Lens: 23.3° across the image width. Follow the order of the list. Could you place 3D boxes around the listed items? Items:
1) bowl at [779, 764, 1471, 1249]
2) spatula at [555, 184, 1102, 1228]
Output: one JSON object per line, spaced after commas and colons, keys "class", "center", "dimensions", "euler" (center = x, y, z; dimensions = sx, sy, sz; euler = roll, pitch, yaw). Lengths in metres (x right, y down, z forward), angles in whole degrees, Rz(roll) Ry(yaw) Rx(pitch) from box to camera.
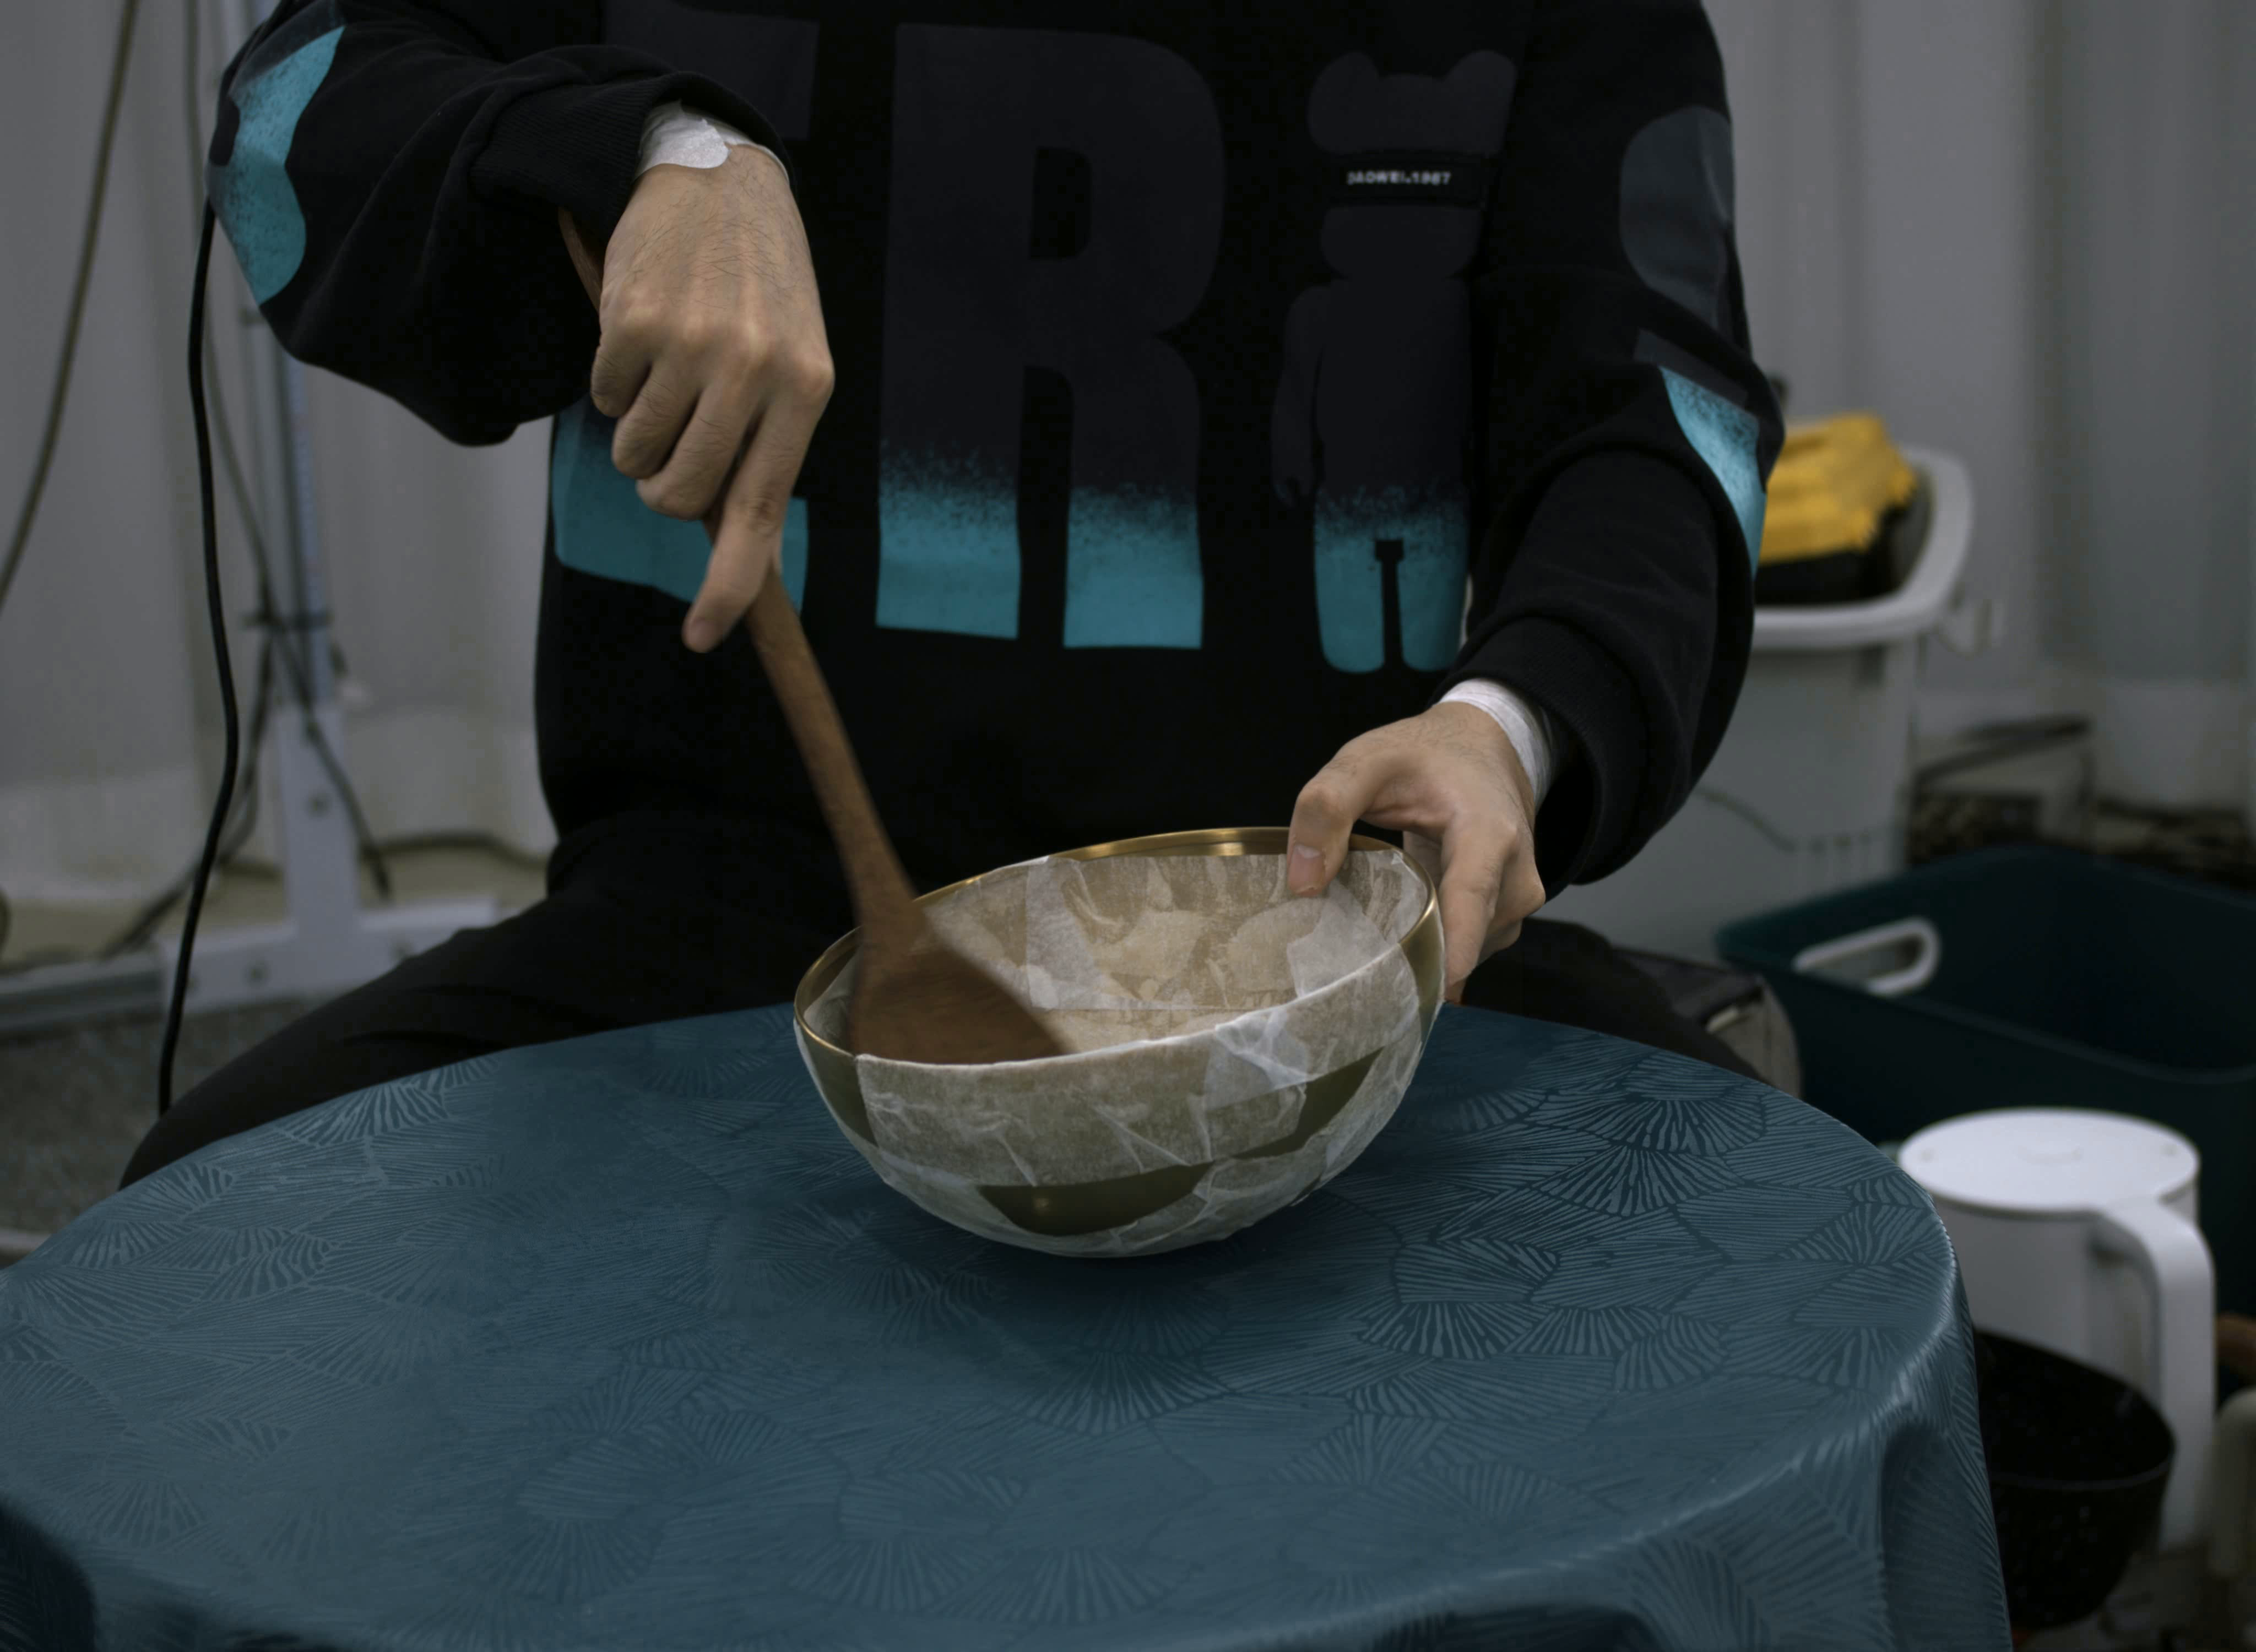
{"class": "bowl", "center": [0.006, 0.067, 1.673], "dimensions": [0.214, 0.094, 0.217], "euler": [-11, 24, 5]}
{"class": "spatula", "center": [-0.102, -0.045, 1.740], "dimensions": [0.095, 0.390, 0.015], "euler": [-7, -25, -43]}
